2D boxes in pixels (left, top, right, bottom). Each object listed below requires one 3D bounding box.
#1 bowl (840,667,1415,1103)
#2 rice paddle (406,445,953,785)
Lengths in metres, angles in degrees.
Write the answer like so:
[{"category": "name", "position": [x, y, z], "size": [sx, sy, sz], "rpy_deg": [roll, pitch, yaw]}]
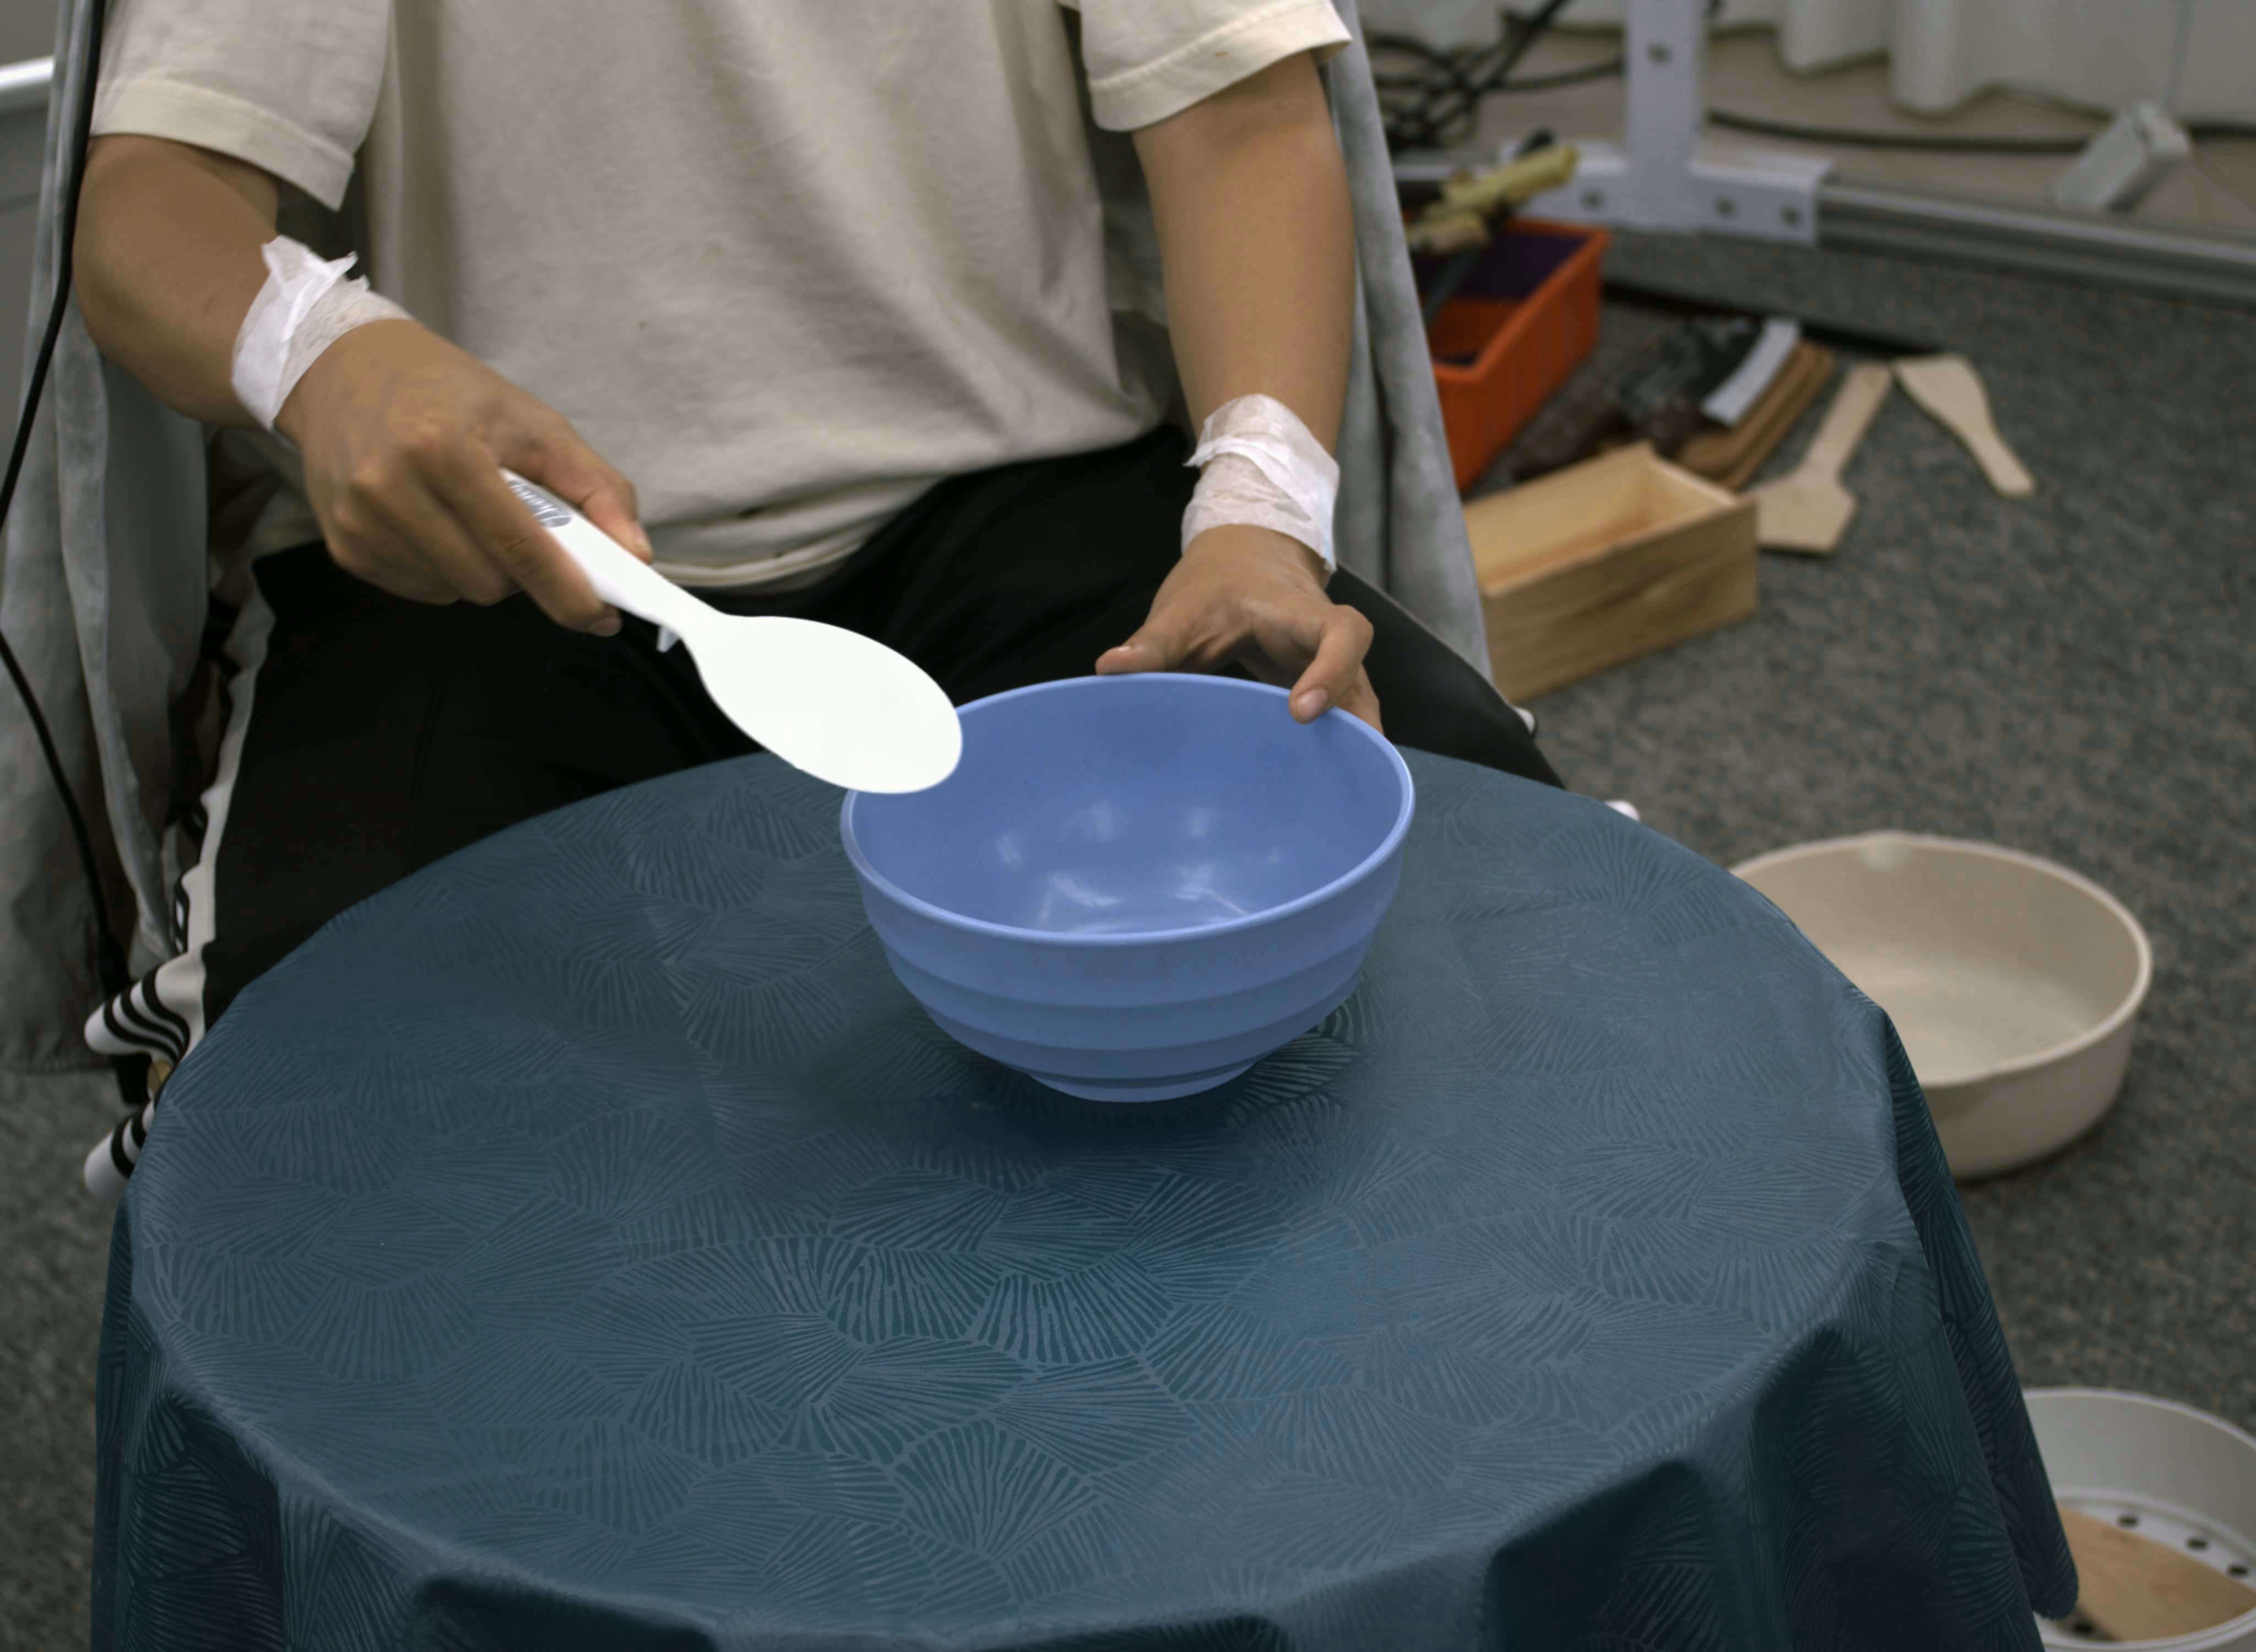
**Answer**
[{"category": "bowl", "position": [0.002, 0.031, 1.931], "size": [0.195, 0.094, 0.199], "rpy_deg": [-2, 29, 2]}, {"category": "rice paddle", "position": [-0.149, -0.070, 1.887], "size": [0.205, 0.029, 0.070], "rpy_deg": [28, 46, 13]}]
